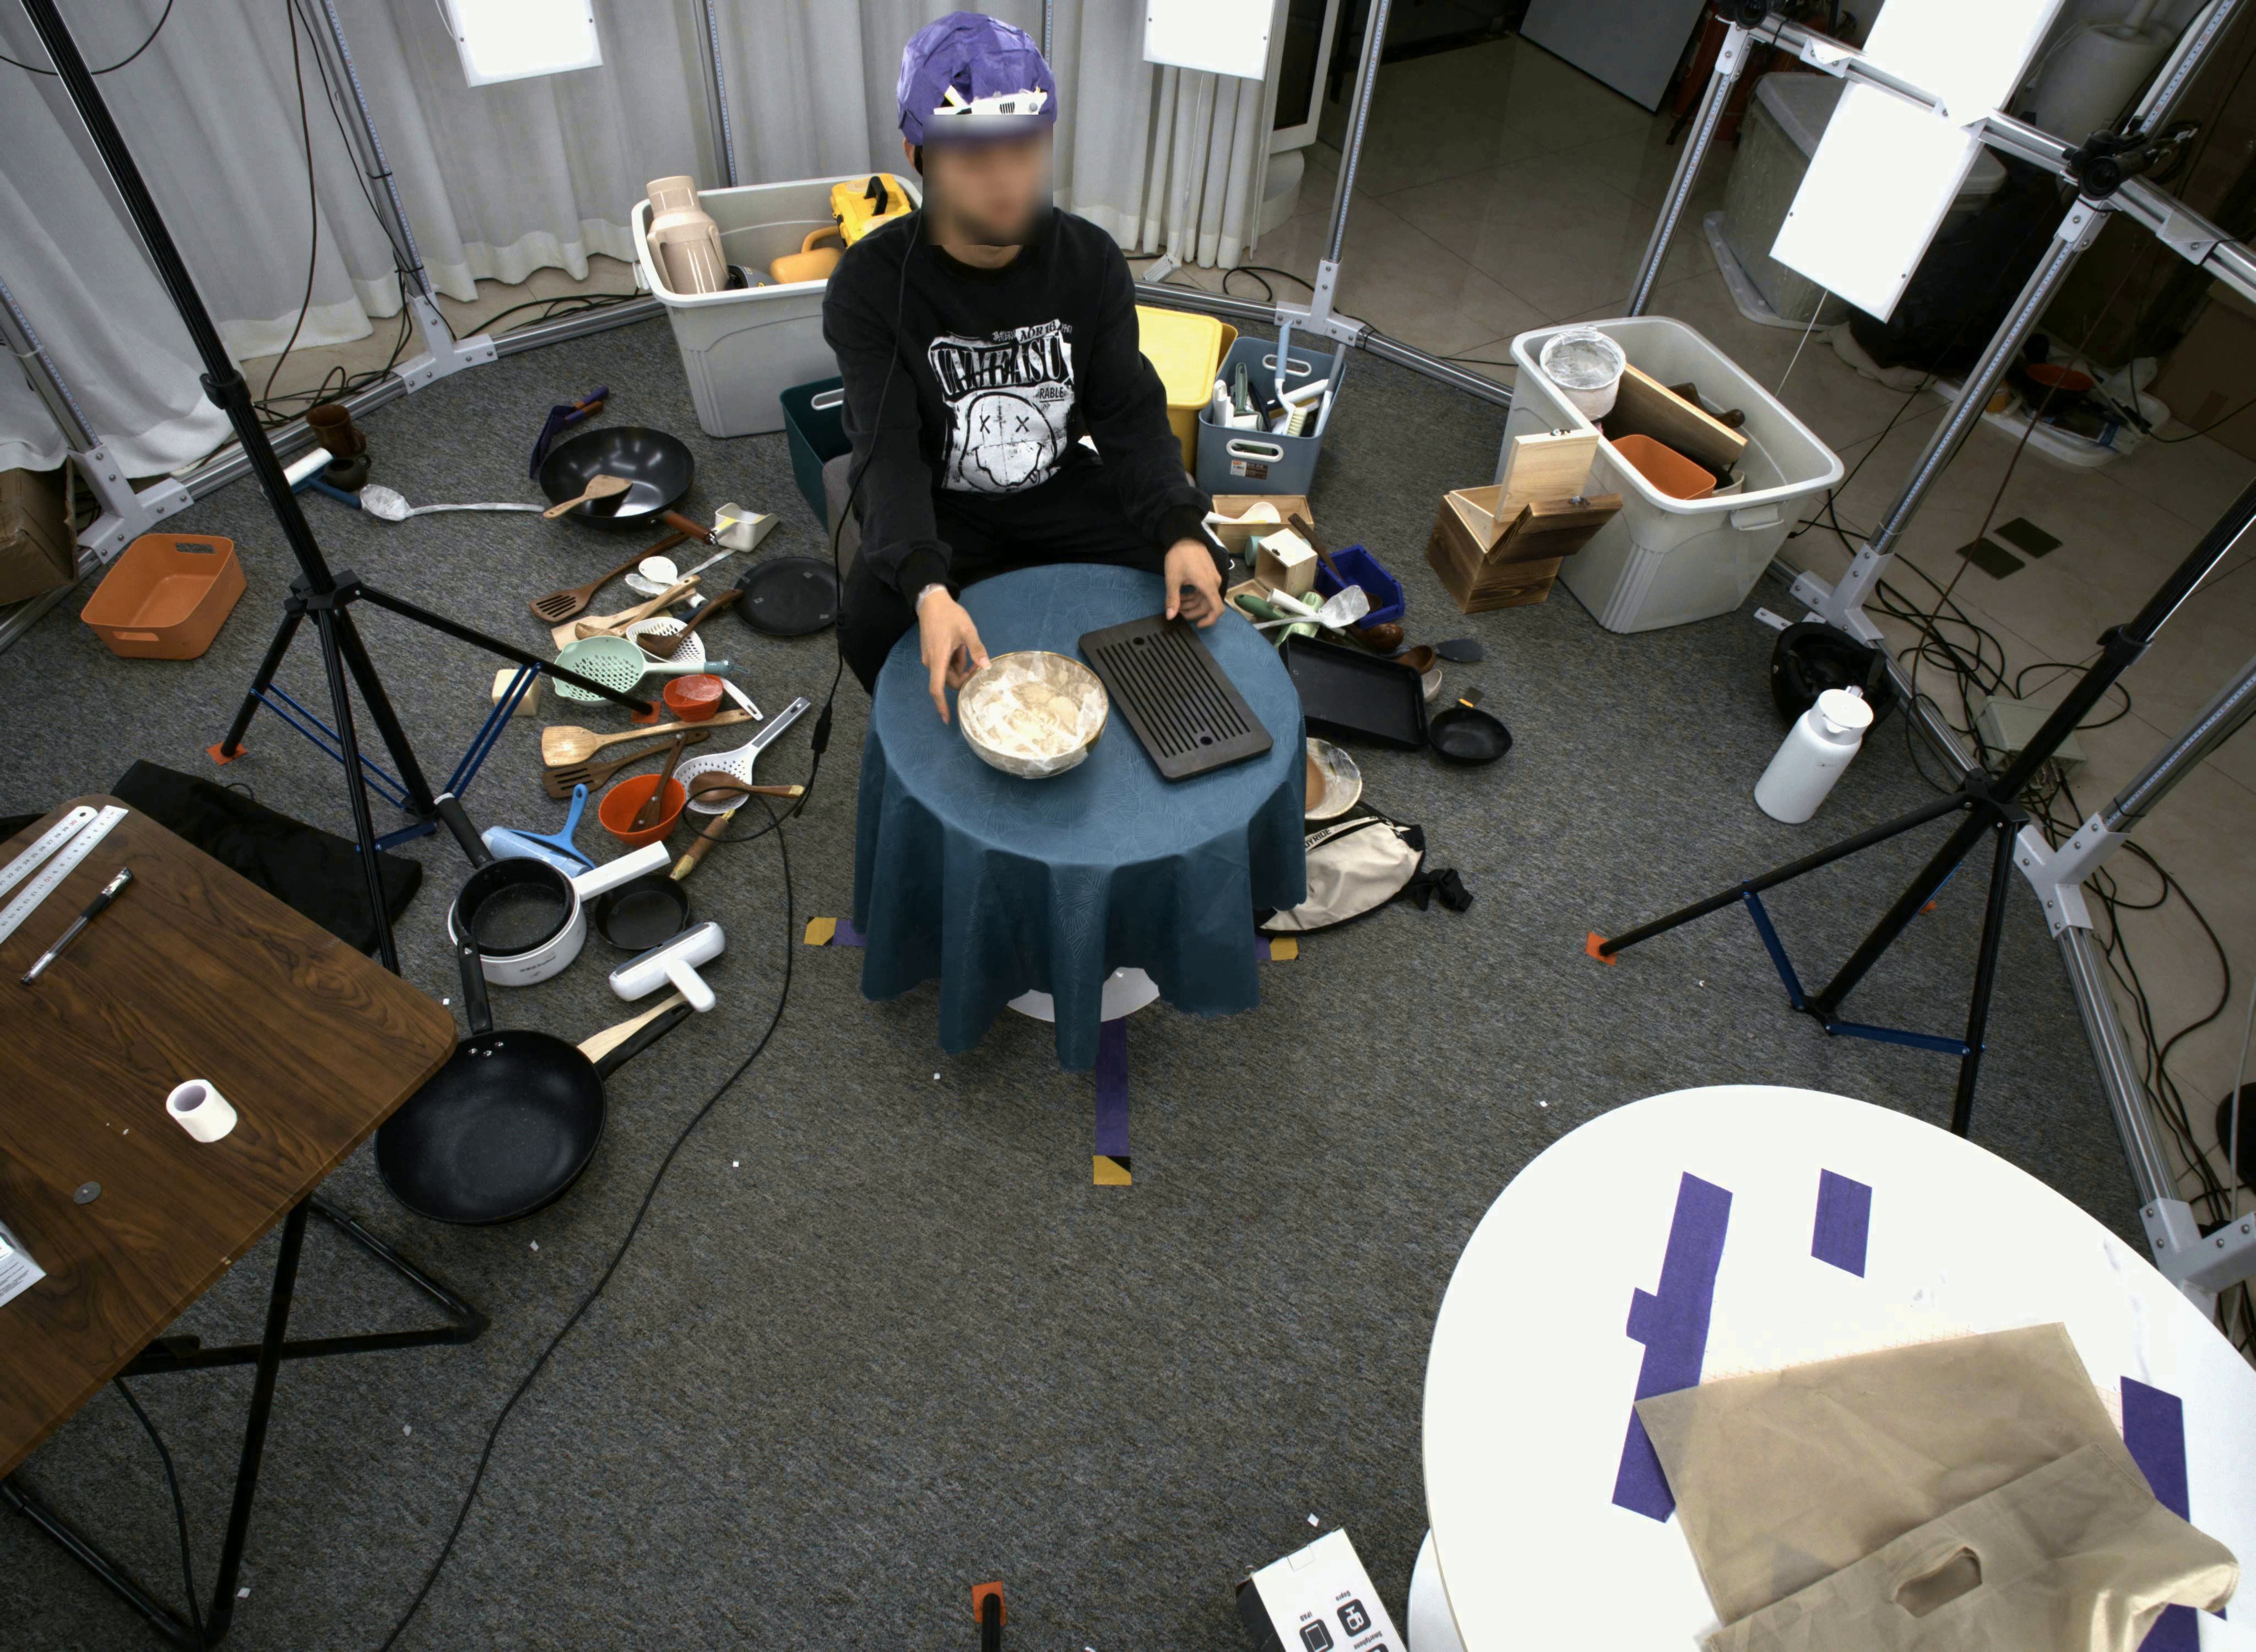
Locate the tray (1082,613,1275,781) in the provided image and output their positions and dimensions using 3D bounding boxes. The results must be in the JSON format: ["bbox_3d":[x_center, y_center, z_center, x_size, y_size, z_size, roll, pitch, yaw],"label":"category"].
[{"bbox_3d":[0.068,-0.190,1.843,0.170,0.018,0.313,-17,52,-18],"label":"tray"}]

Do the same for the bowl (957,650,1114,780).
[{"bbox_3d":[-0.124,-0.136,1.734,0.214,0.092,0.220,1,49,-2],"label":"bowl"}]
